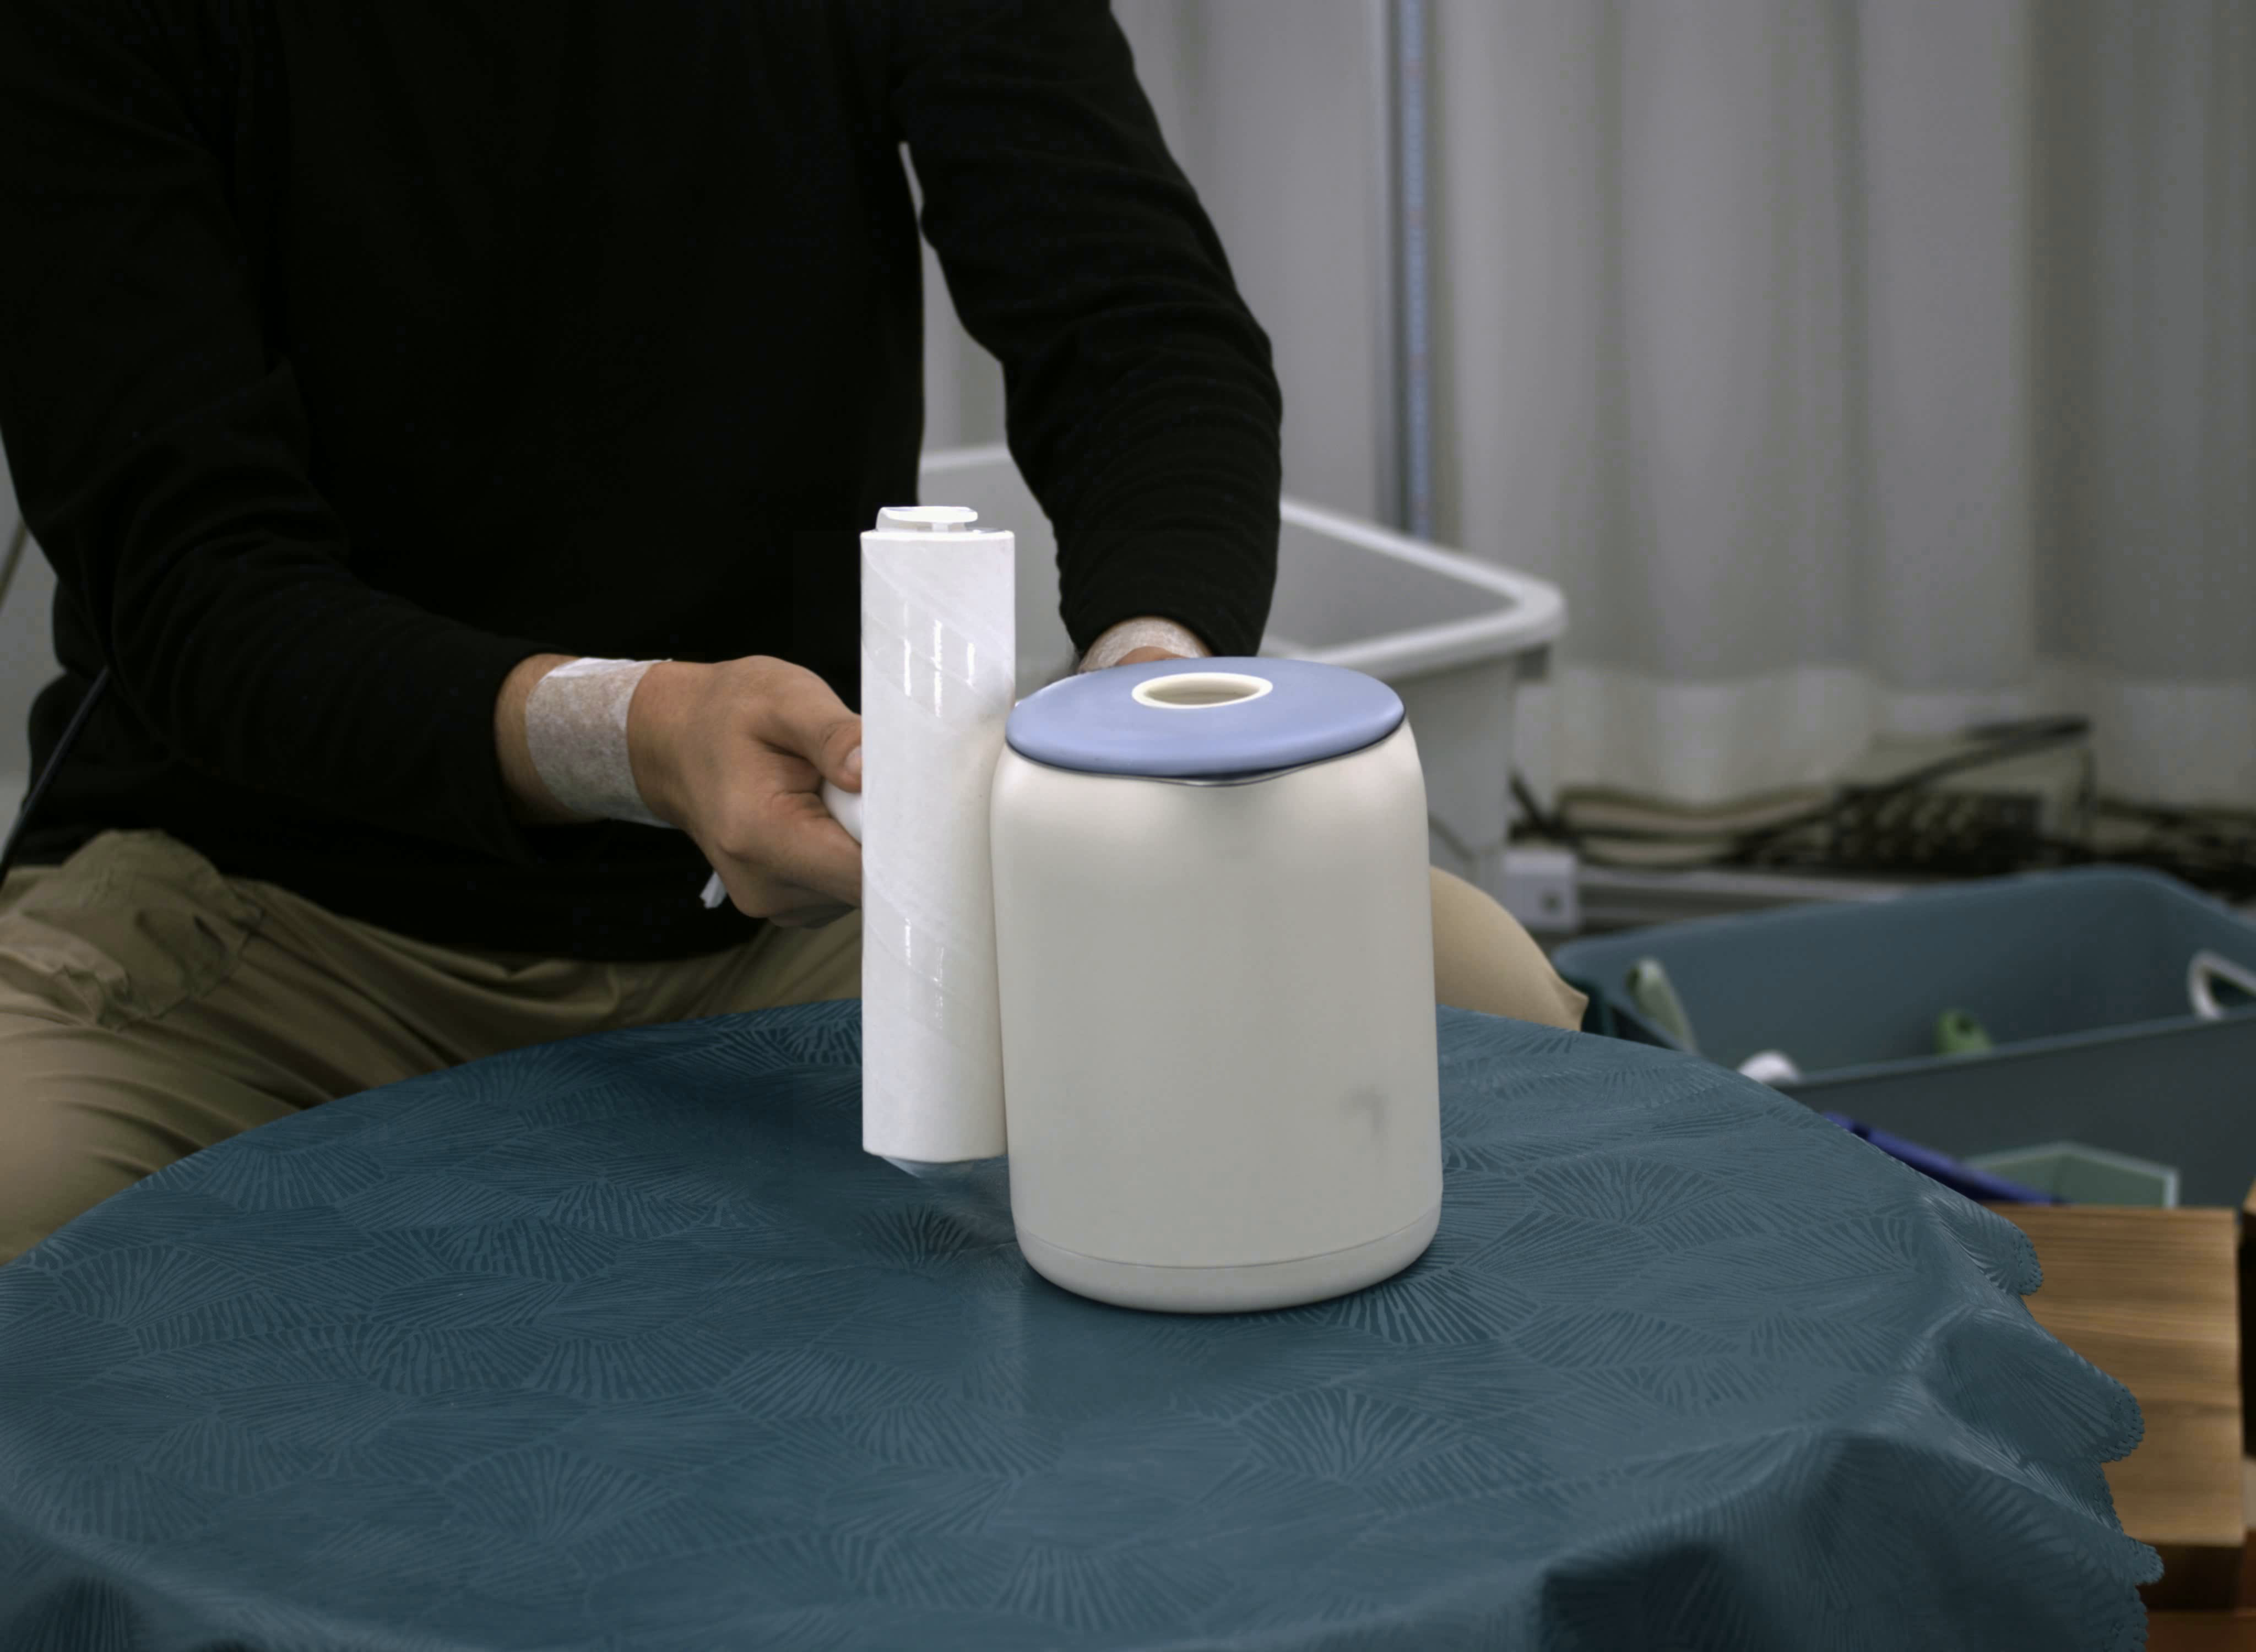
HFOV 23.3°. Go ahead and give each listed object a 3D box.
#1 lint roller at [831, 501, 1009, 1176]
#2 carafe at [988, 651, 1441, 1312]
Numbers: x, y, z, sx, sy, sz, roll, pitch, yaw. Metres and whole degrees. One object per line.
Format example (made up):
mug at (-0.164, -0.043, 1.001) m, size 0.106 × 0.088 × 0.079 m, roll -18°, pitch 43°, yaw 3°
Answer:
lint roller at (-0.078, -0.004, 1.748) m, size 0.048 × 0.203 × 0.226 m, roll -2°, pitch 5°, yaw -11°
carafe at (0.023, 0.040, 1.660) m, size 0.131 × 0.182 × 0.192 m, roll -4°, pitch 12°, yaw -7°
